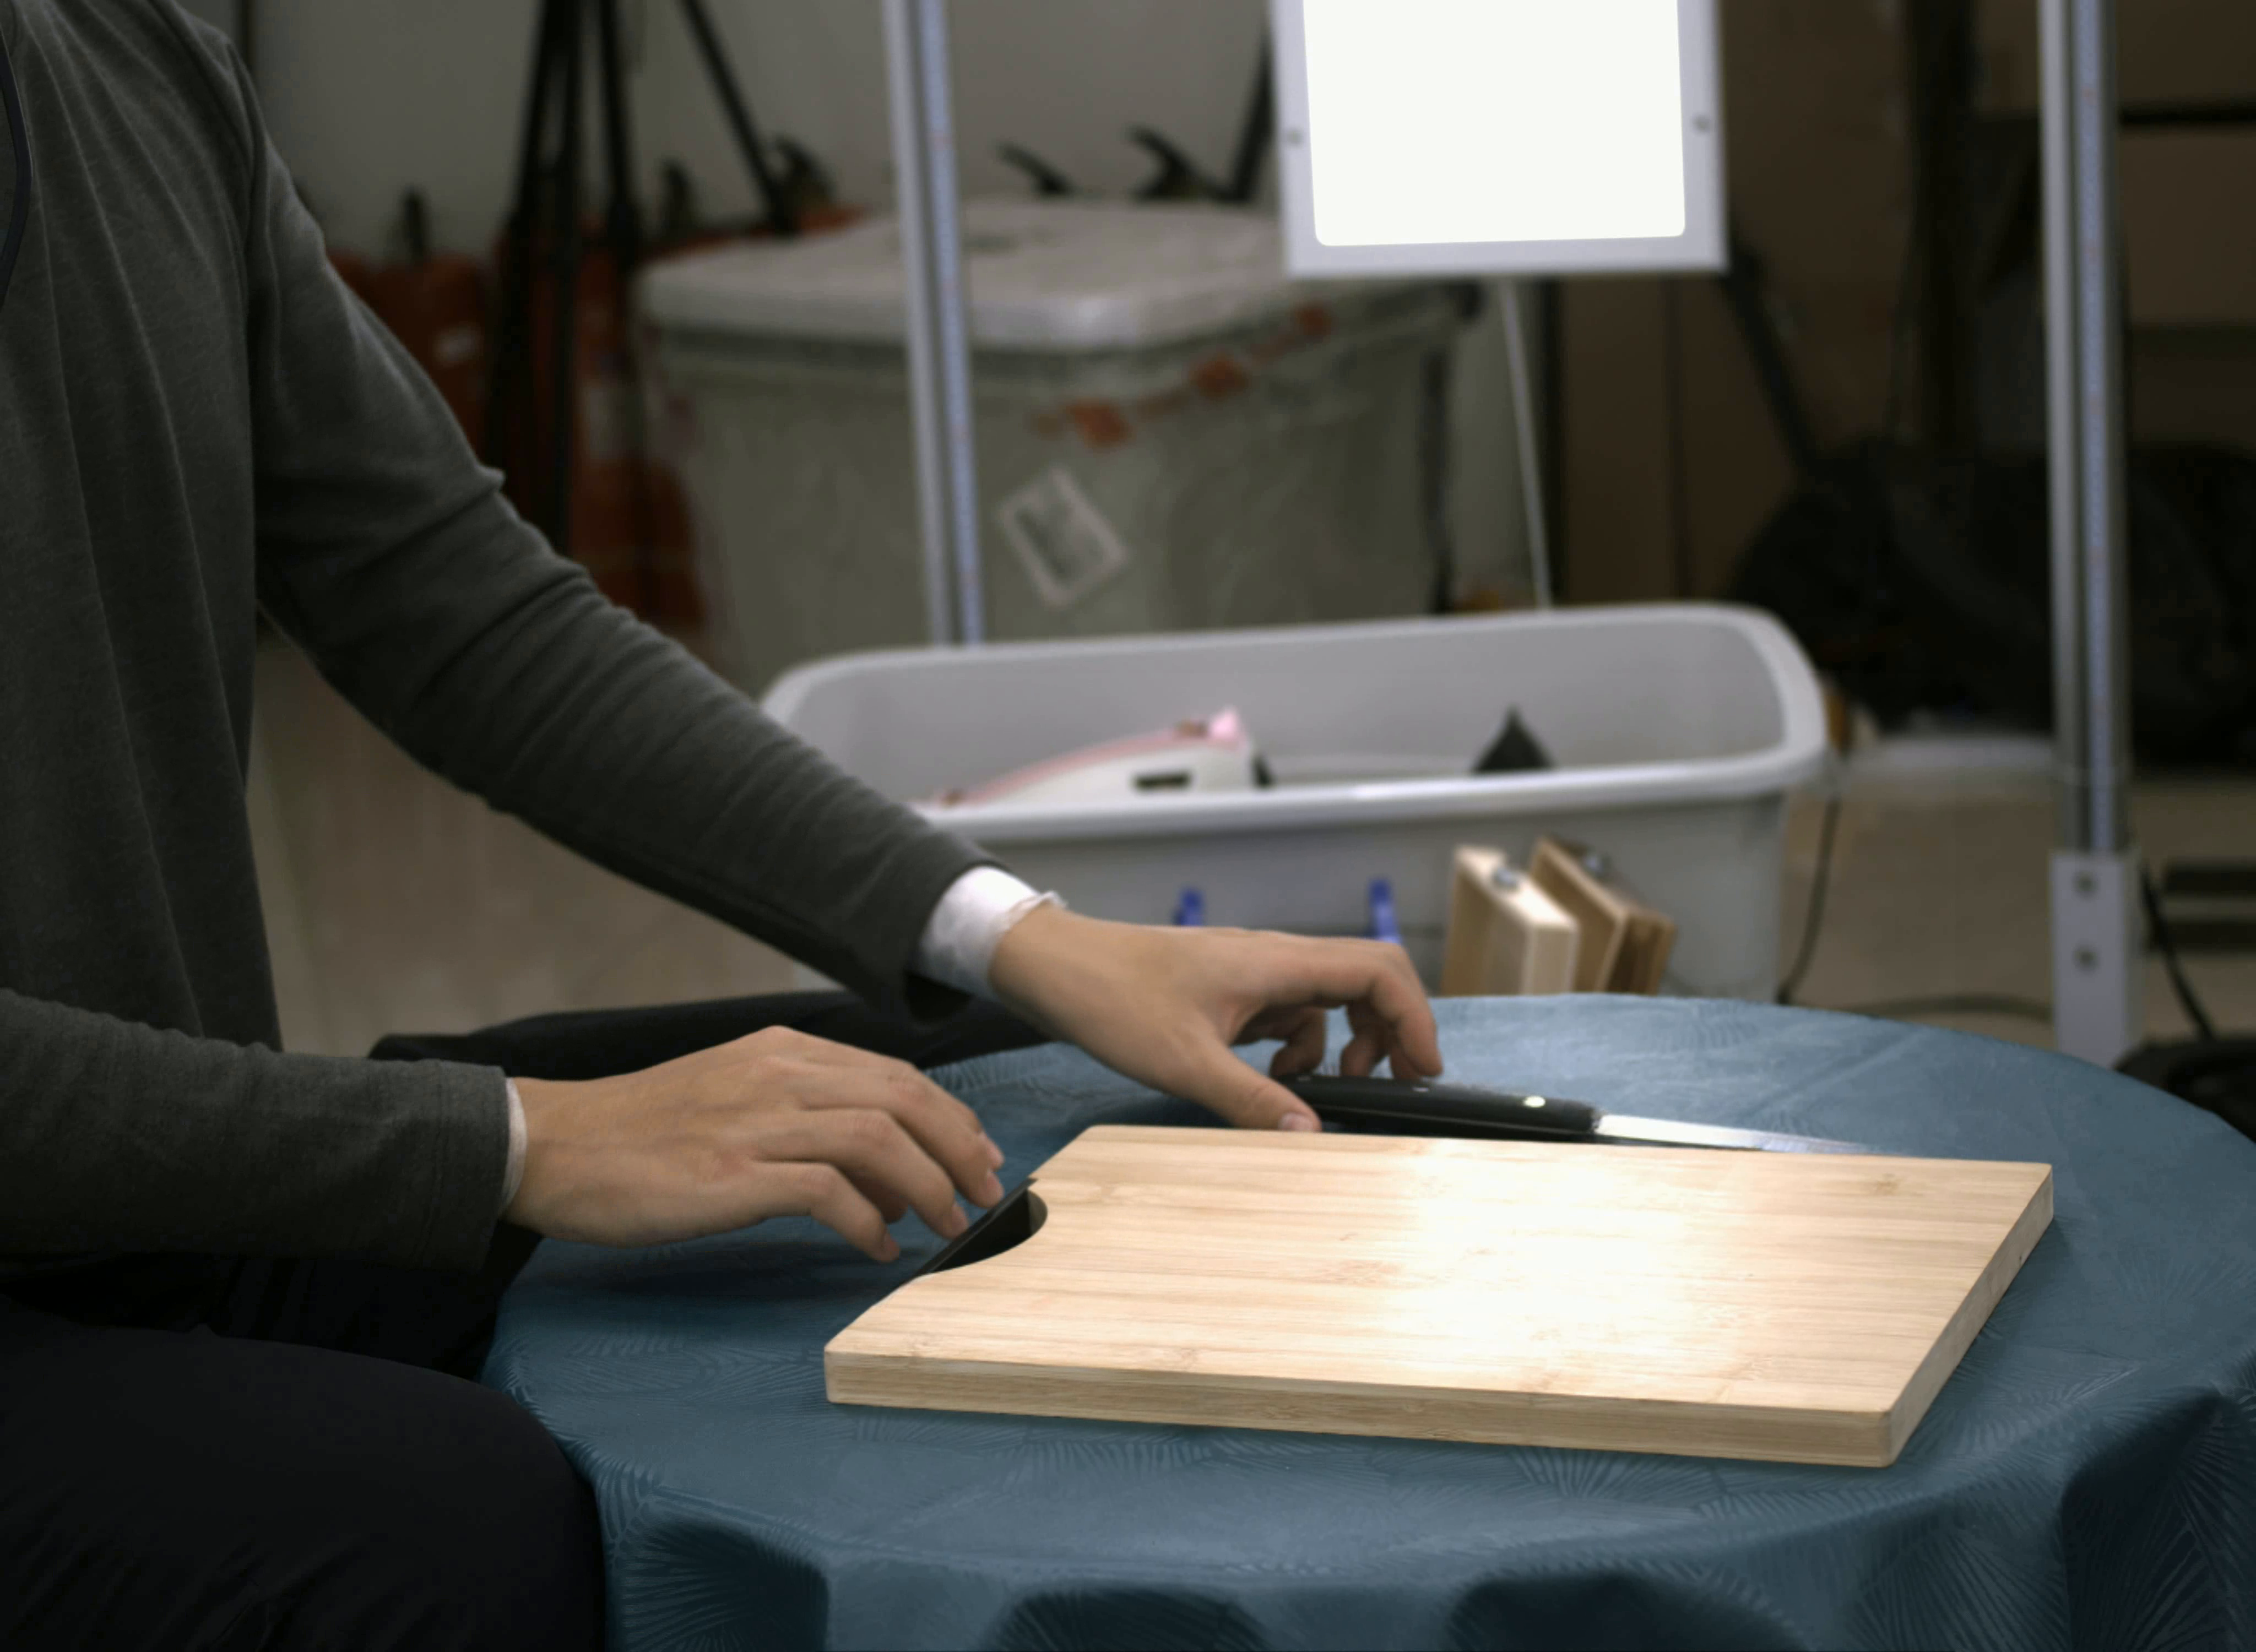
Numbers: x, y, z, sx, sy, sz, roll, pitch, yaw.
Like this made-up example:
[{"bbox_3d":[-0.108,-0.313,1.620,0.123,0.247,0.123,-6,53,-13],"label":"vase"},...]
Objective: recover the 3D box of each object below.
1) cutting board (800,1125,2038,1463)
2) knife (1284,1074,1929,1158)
[{"bbox_3d":[0.100,0.145,1.756,0.354,0.023,0.246,1,14,22],"label":"cutting board"},{"bbox_3d":[0.164,0.104,1.911,0.242,0.016,0.024,4,20,25],"label":"knife"}]
